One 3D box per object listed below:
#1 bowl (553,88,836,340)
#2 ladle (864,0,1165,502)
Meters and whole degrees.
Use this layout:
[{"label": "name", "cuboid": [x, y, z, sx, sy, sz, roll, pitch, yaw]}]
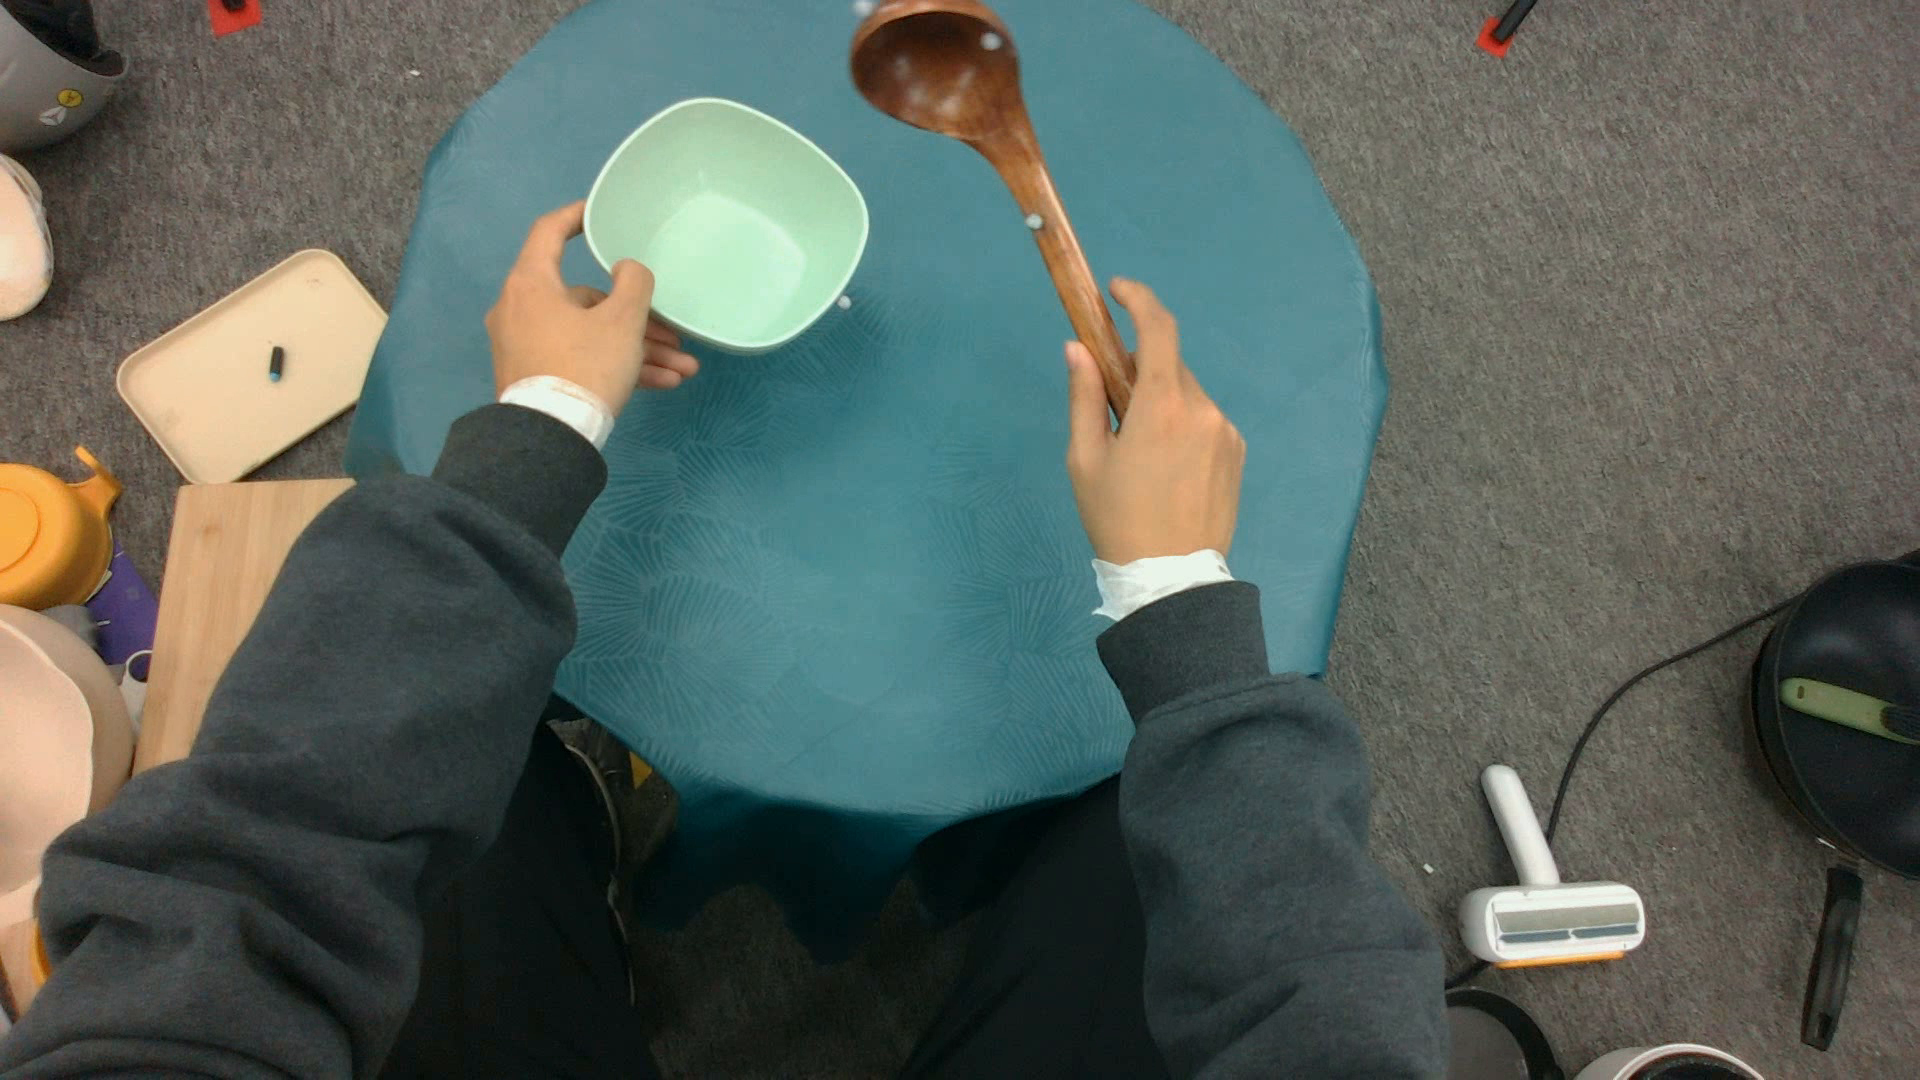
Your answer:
[{"label": "bowl", "cuboid": [-0.147, -0.169, 0.758, 0.151, 0.058, 0.152, 6, 67, -15]}, {"label": "ladle", "cuboid": [0.035, -0.141, 0.670, 0.077, 0.081, 0.274, -27, 97, -54]}]
